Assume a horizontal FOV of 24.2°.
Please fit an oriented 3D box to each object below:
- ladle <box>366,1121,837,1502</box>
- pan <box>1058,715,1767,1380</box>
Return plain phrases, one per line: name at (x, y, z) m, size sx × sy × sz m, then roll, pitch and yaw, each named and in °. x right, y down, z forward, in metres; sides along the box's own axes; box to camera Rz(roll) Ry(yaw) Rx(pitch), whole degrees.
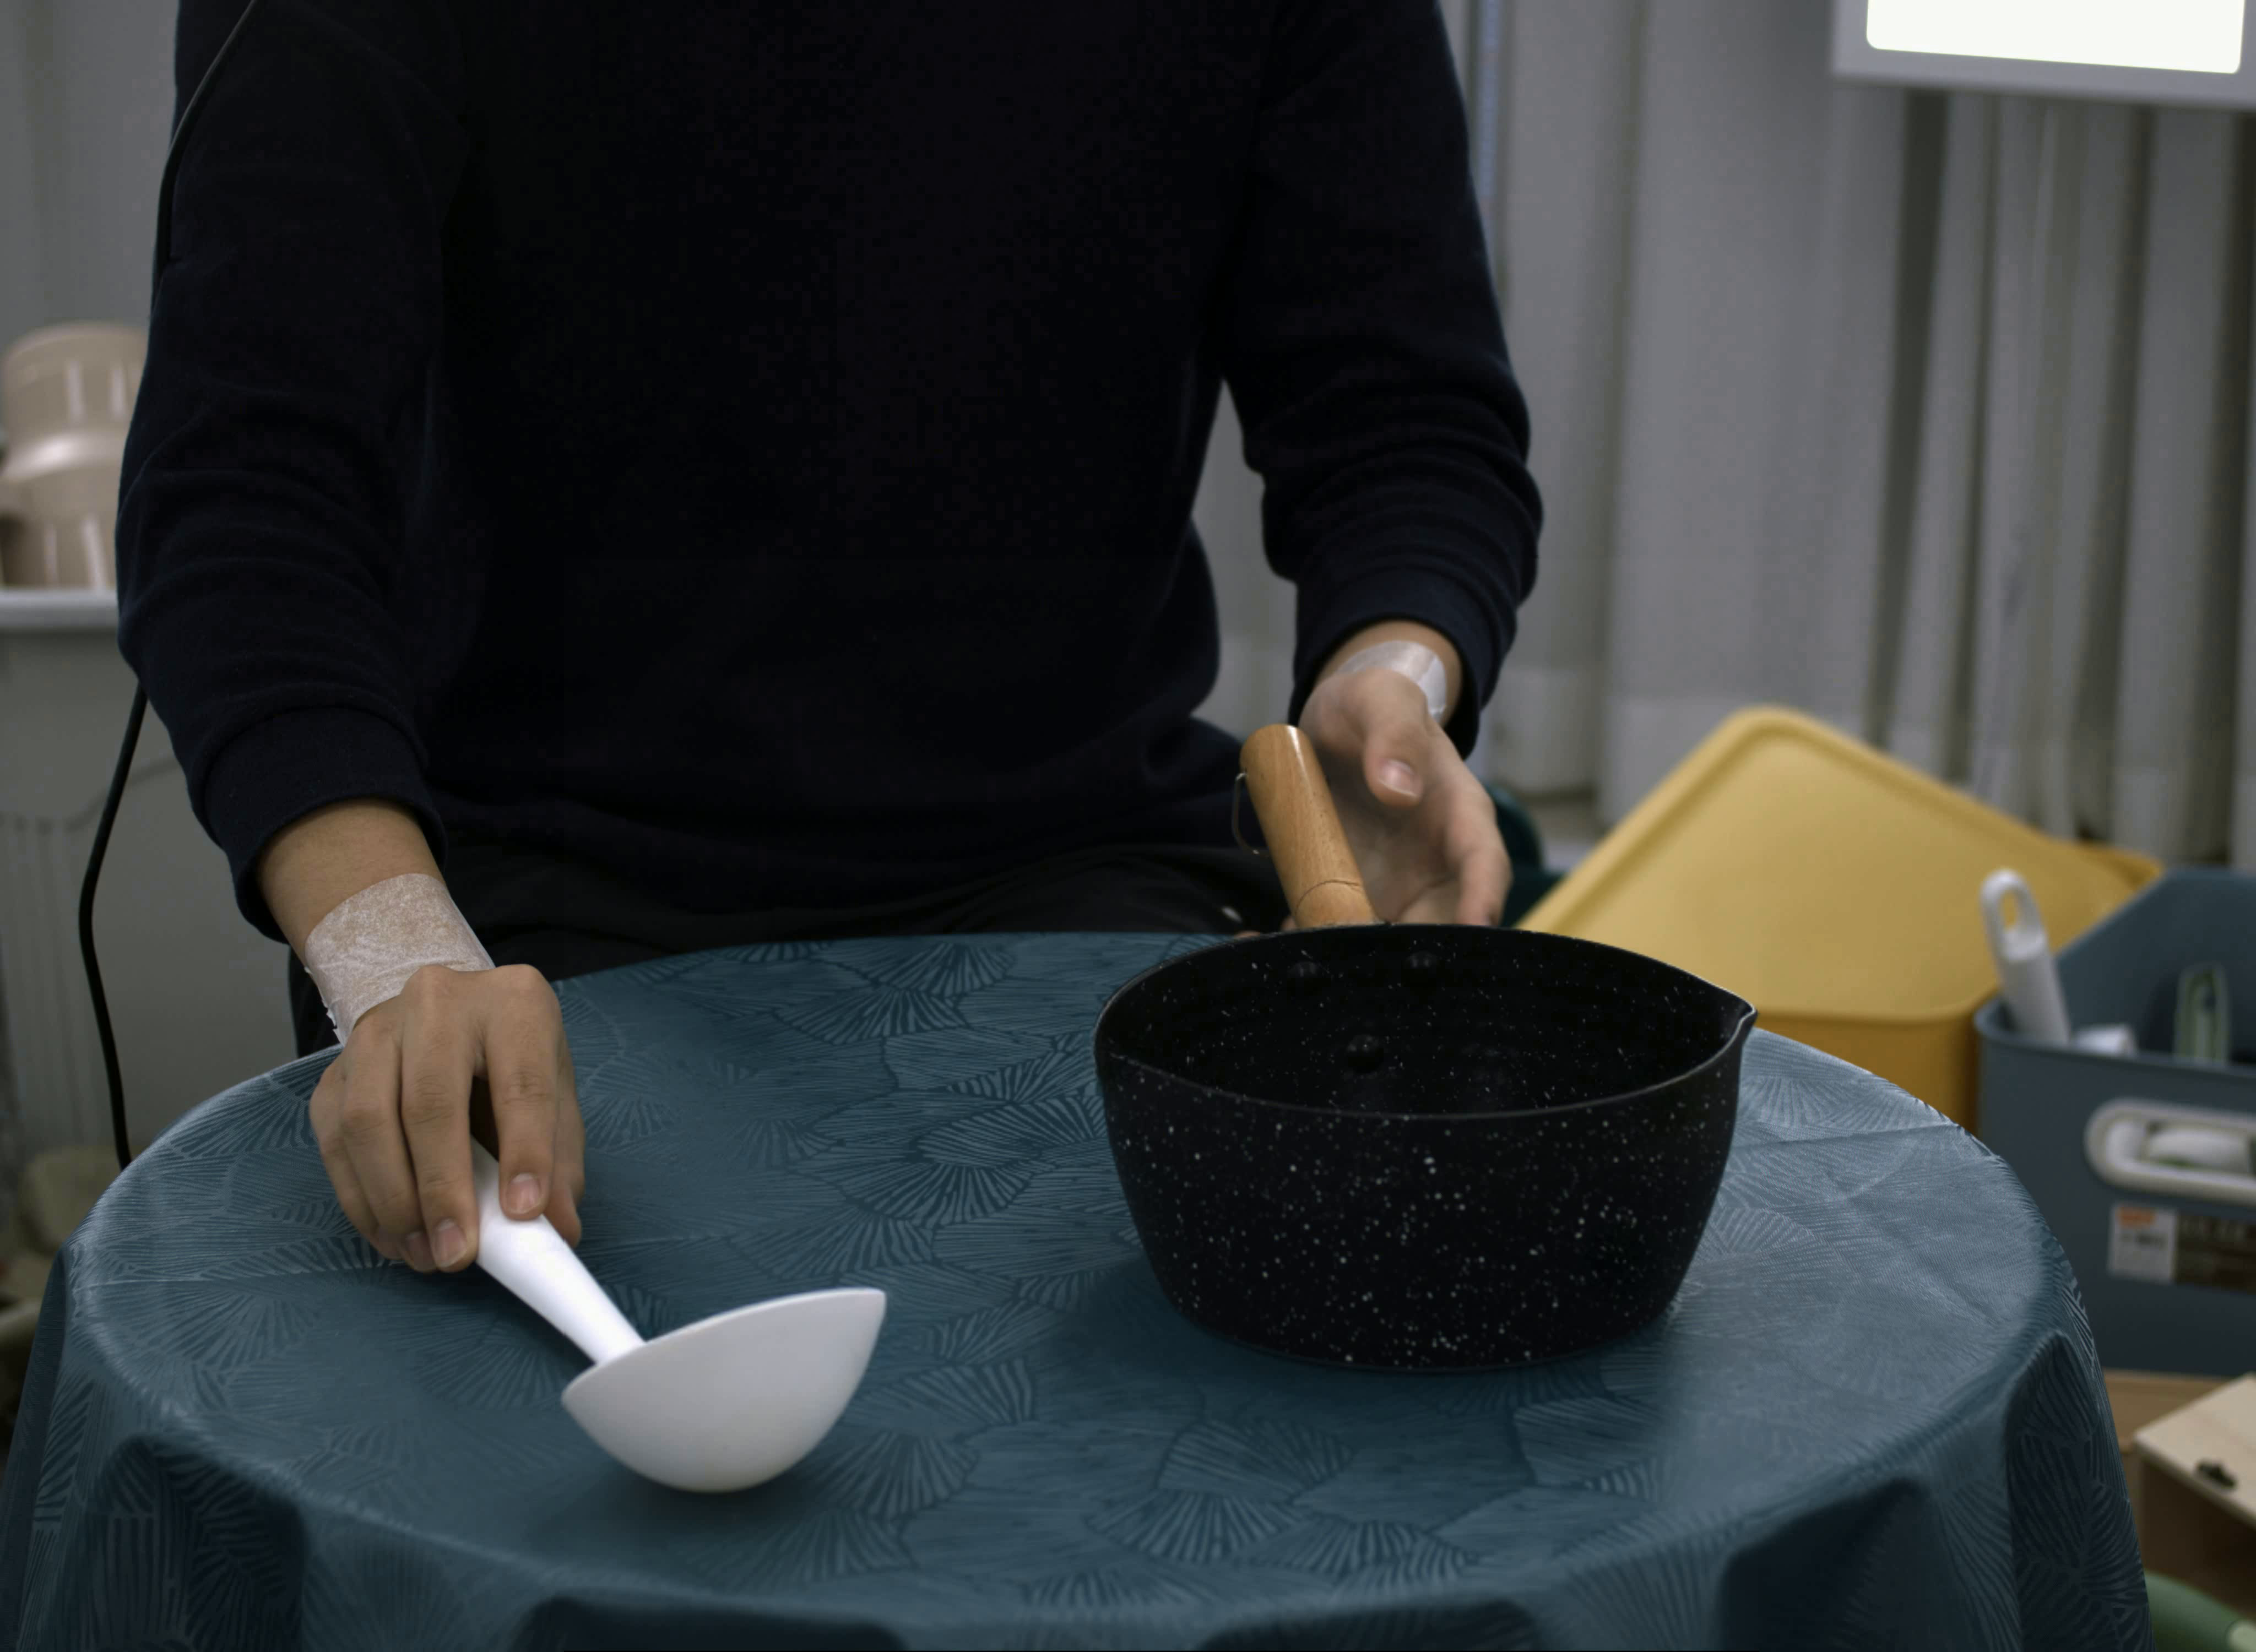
ladle at (-0.162, 0.121, 1.472) m, size 0.090 × 0.070 × 0.289 m, roll -20°, pitch 21°, yaw -19°
pan at (0.072, 0.062, 1.604) m, size 0.207 × 0.109 × 0.340 m, roll -3°, pitch 17°, yaw -9°
